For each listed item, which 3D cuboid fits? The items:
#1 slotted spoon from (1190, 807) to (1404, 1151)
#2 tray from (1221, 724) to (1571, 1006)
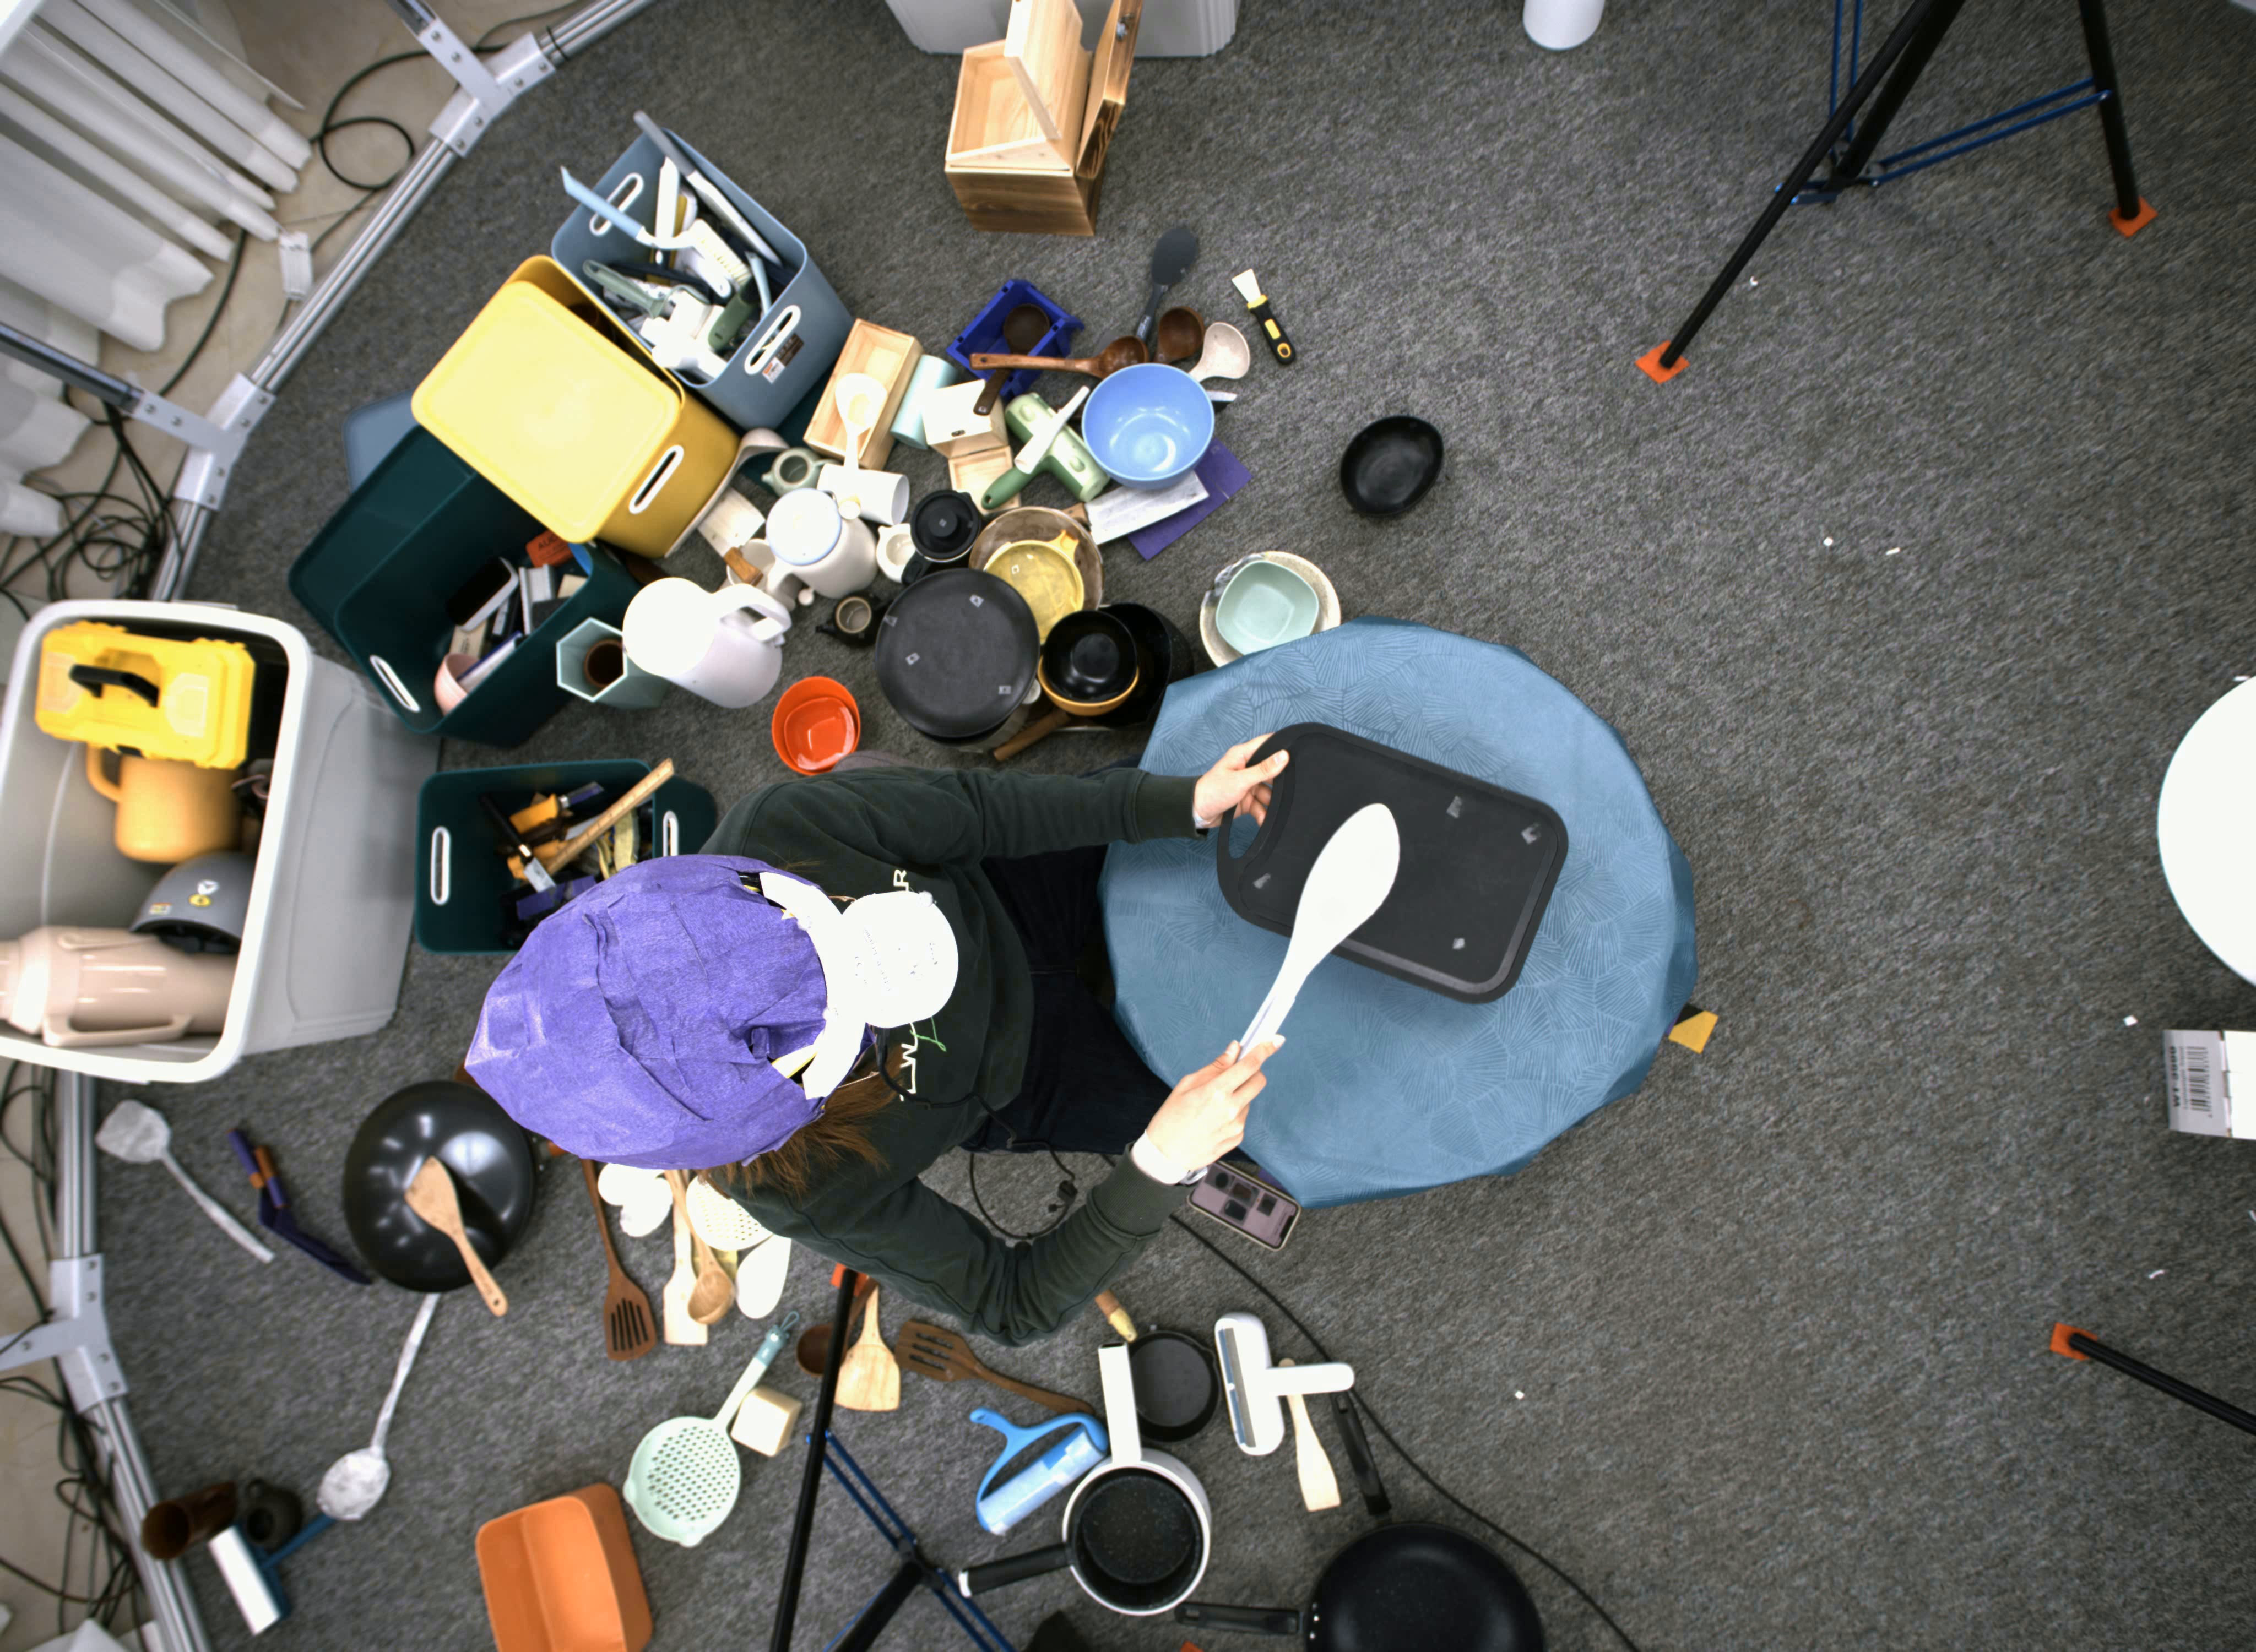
[{"bbox_3d":[0.151,0.137,1.241,0.046,0.135,0.349,35,90,-8],"label":"slotted spoon"},{"bbox_3d":[0.252,0.034,1.347,0.325,0.010,0.212,21,99,6],"label":"tray"}]
